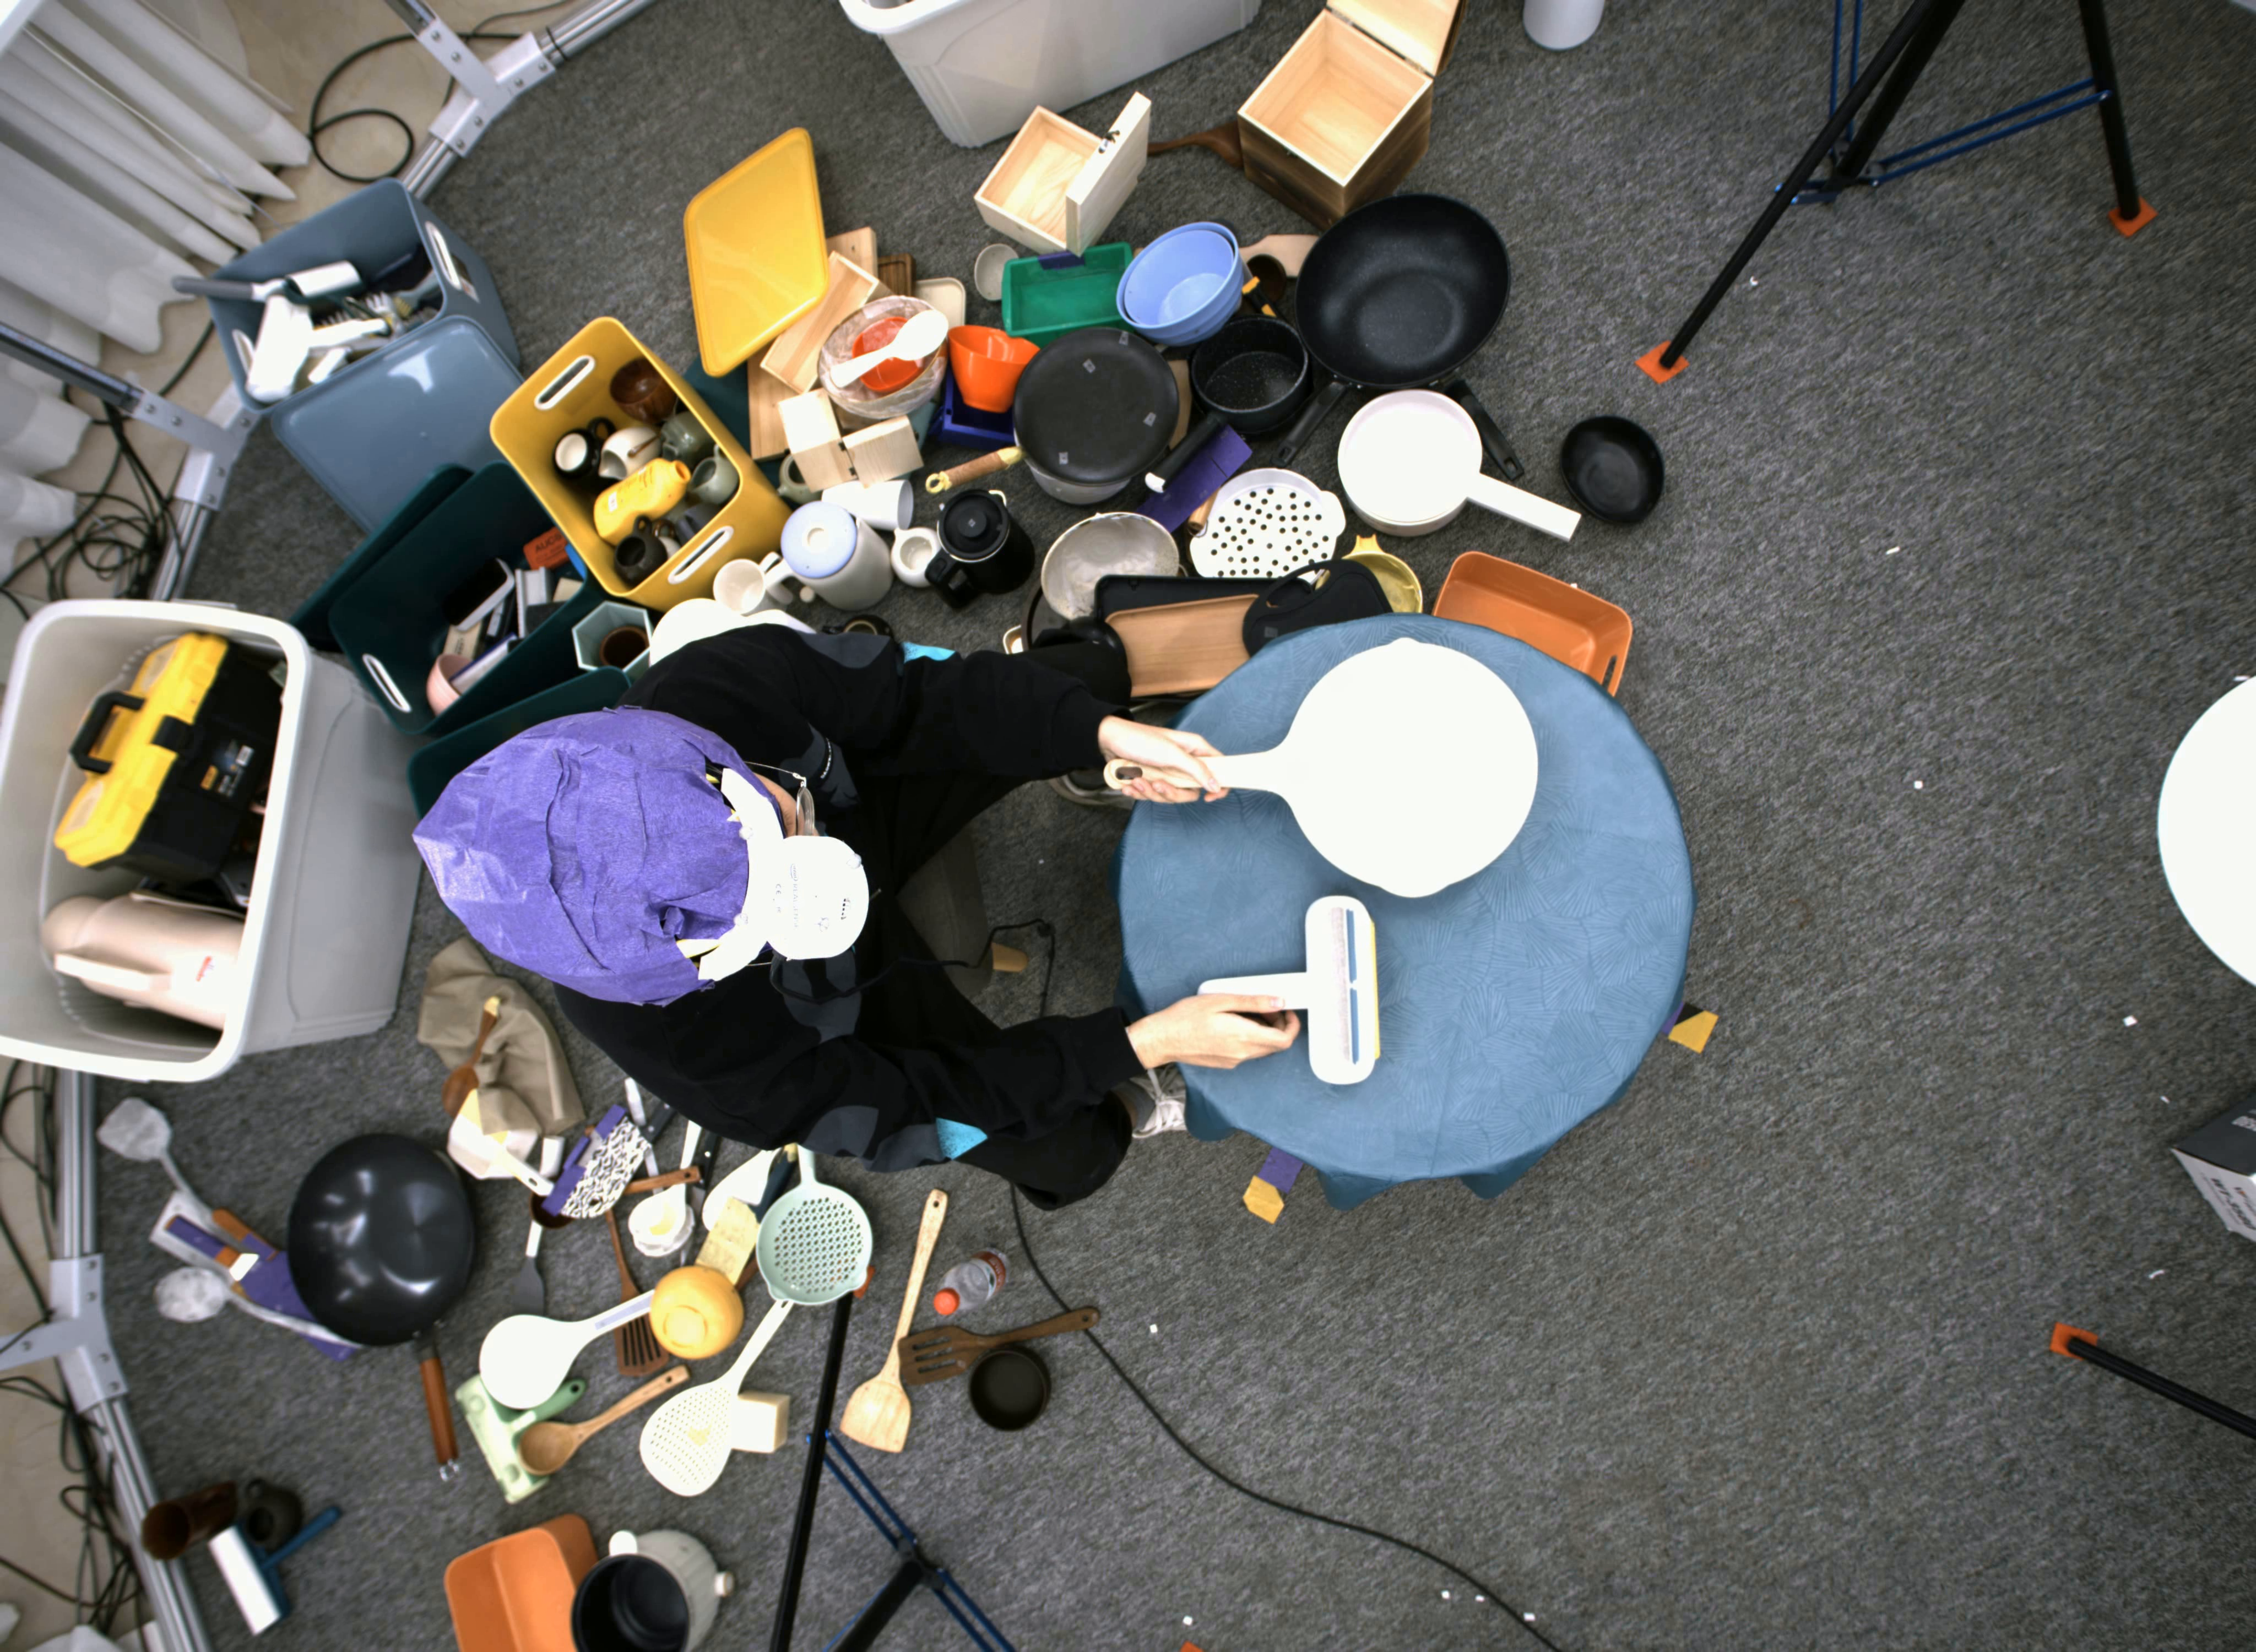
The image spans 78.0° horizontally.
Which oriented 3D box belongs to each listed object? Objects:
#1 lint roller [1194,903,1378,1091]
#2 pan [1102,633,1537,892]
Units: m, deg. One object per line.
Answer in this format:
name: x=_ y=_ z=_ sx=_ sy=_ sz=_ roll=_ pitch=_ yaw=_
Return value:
lint roller: x=0.160 y=0.174 z=1.436 sx=0.193 sy=0.074 sz=0.191 roll=1 pitch=81 yaw=12
pan: x=0.196 y=-0.060 z=1.425 sx=0.437 sy=0.102 sz=0.263 roll=-3 pitch=89 yaw=10
